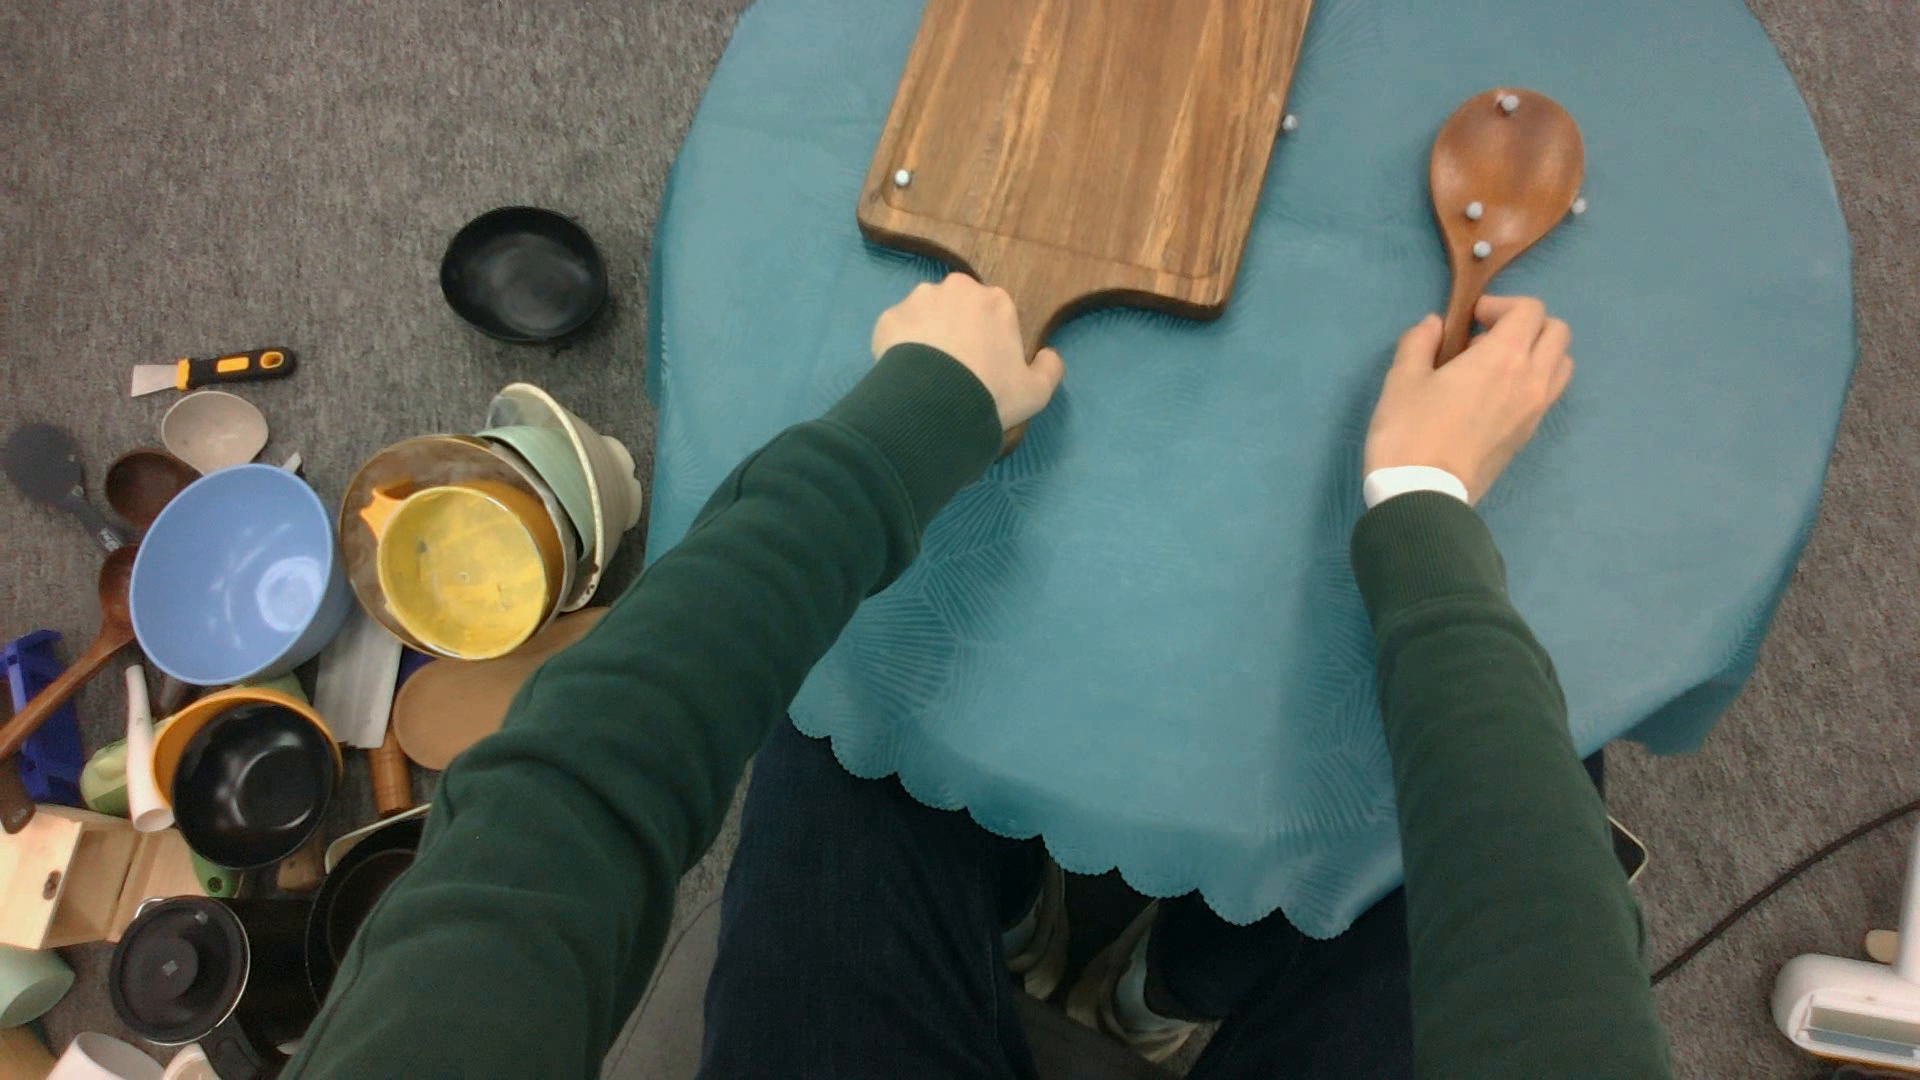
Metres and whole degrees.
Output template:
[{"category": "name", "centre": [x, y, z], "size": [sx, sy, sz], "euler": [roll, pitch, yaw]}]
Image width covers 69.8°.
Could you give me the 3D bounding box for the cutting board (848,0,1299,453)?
[{"category": "cutting board", "centre": [0.055, -0.209, 0.716], "size": [0.201, 0.023, 0.353], "euler": [15, 75, 7]}]

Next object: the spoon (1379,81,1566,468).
[{"category": "spoon", "centre": [0.246, -0.134, 0.682], "size": [0.075, 0.017, 0.216], "euler": [19, 75, 7]}]
